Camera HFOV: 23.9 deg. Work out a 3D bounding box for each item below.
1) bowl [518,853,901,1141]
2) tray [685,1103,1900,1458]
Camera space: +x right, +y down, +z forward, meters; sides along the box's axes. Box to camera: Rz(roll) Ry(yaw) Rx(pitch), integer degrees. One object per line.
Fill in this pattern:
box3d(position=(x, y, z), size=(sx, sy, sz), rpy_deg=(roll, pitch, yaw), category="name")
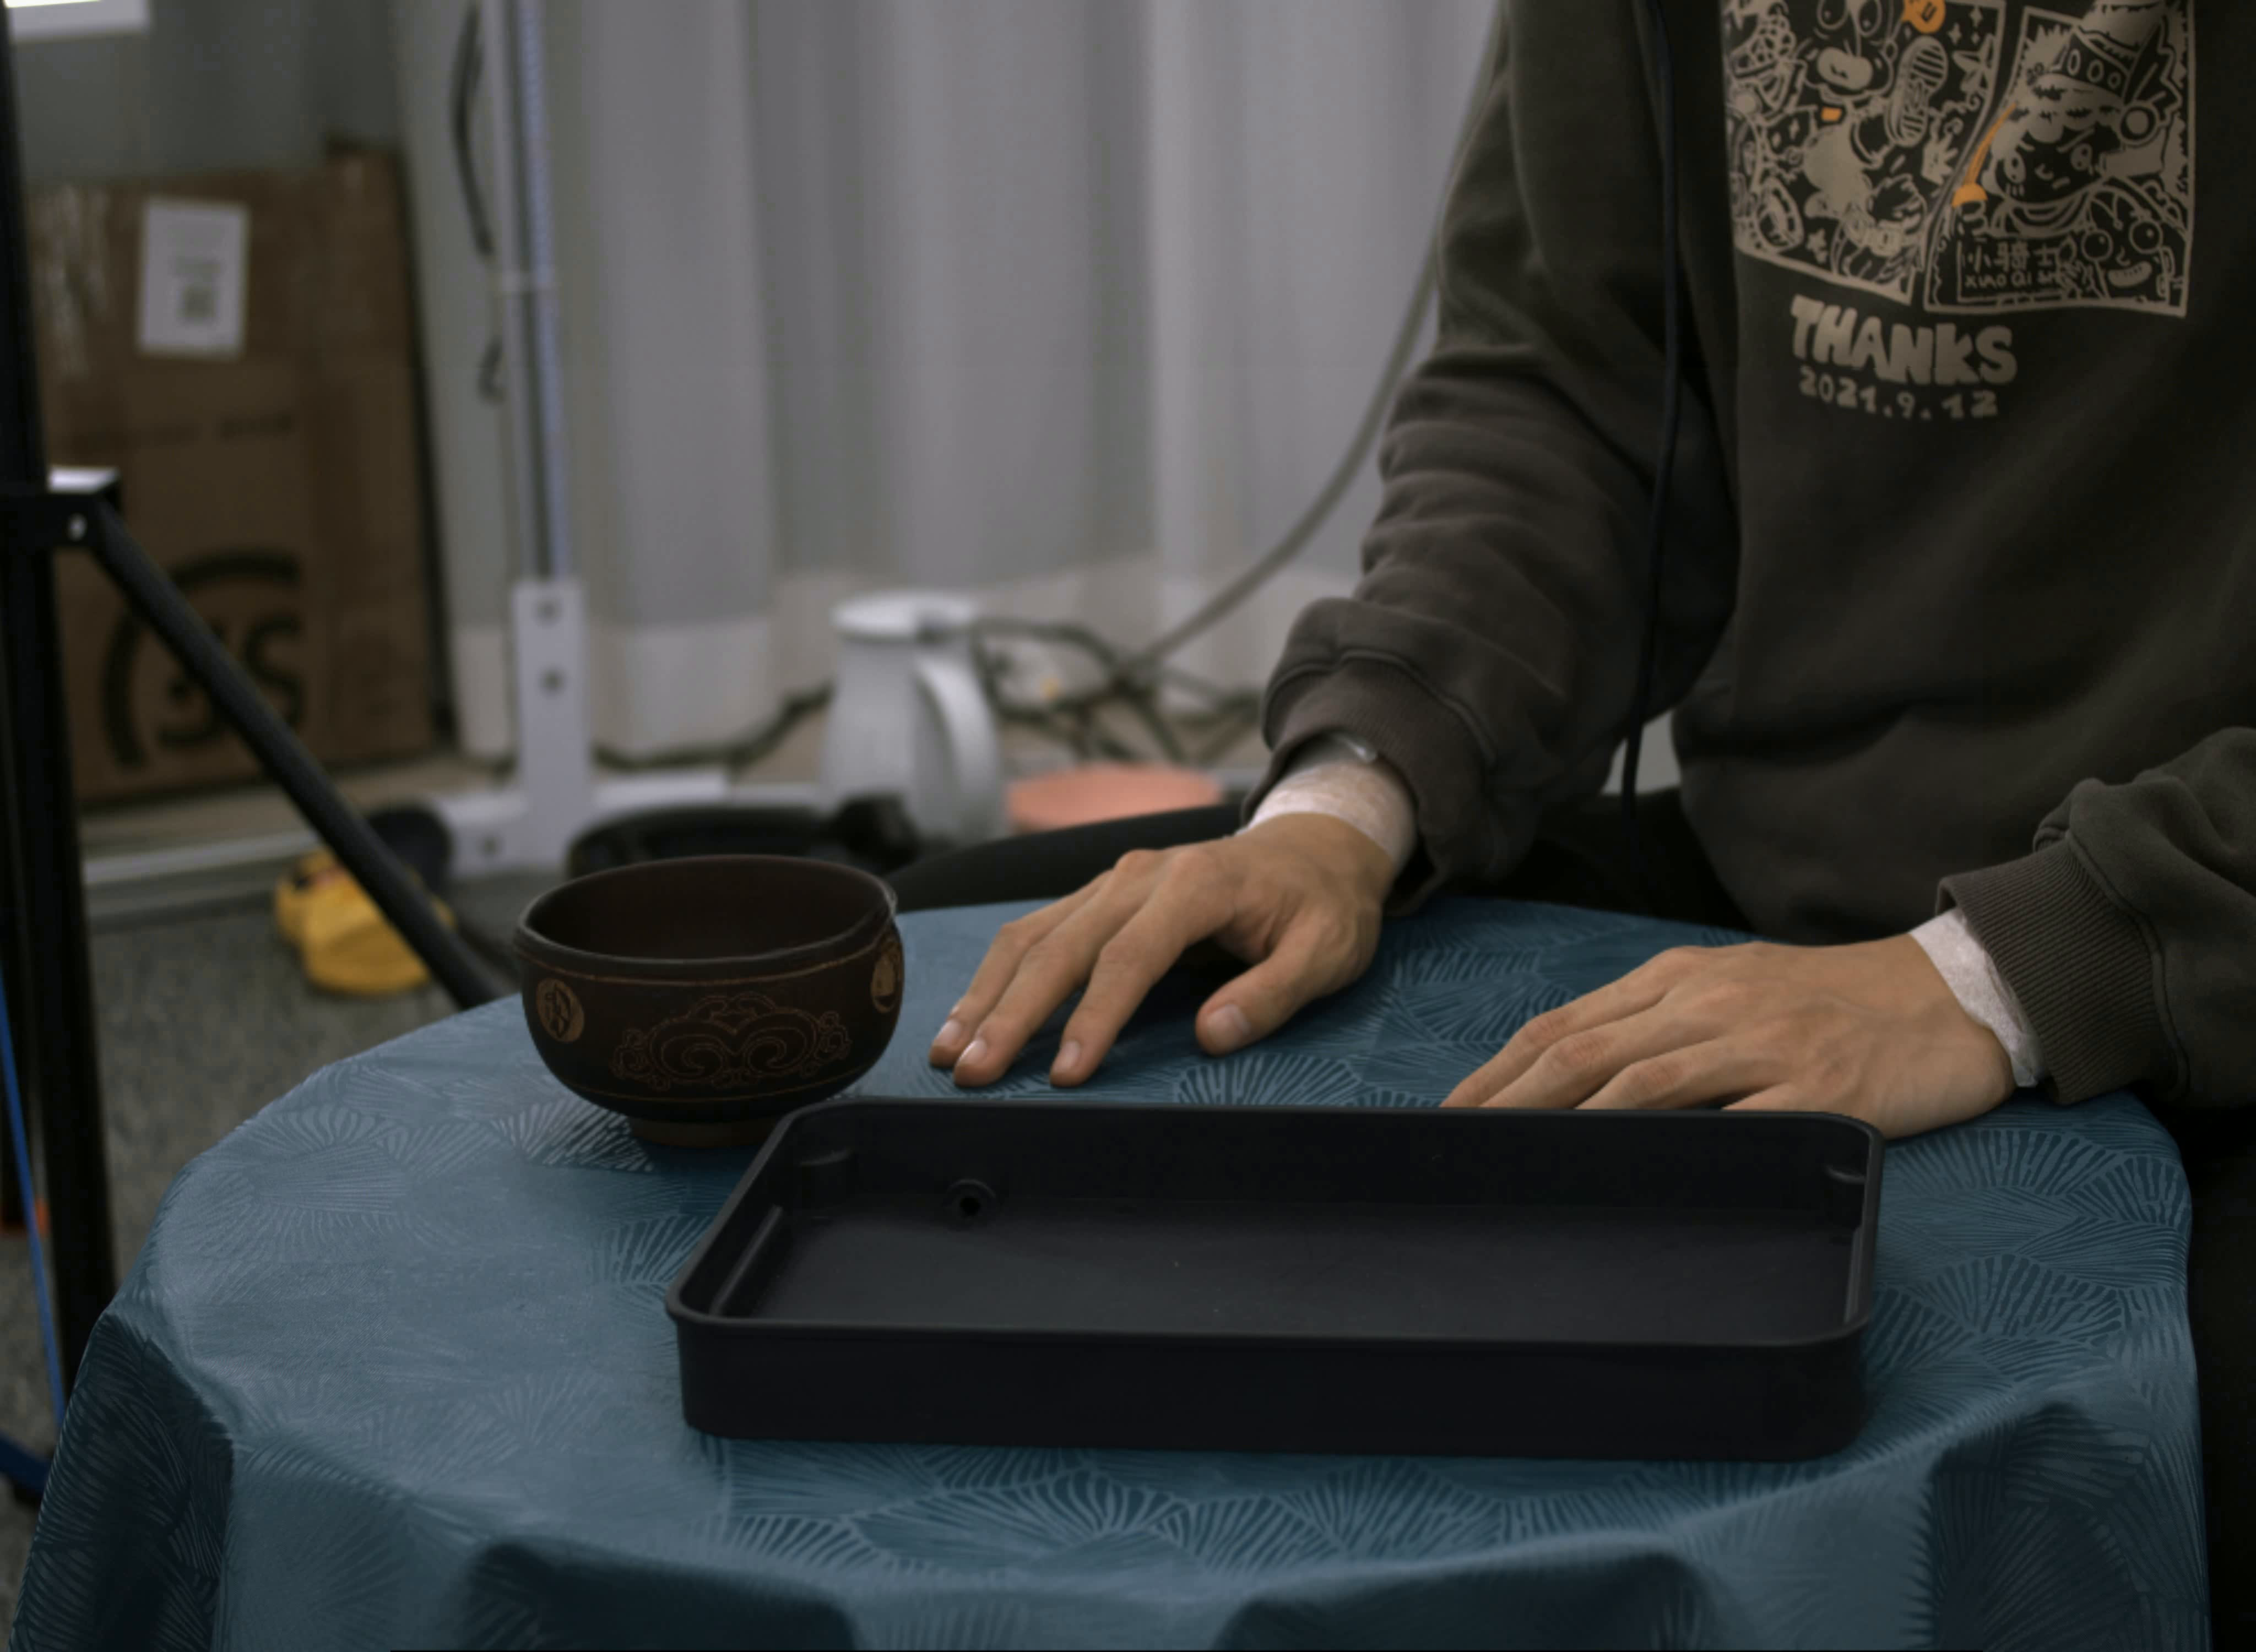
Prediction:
box3d(position=(-0.128, 0.056, 1.638), size=(0.117, 0.070, 0.118), rpy_deg=(-2, 14, -1), category="bowl")
box3d(position=(0.050, 0.121, 1.443), size=(0.319, 0.037, 0.184), rpy_deg=(-1, 15, 9), category="tray")
